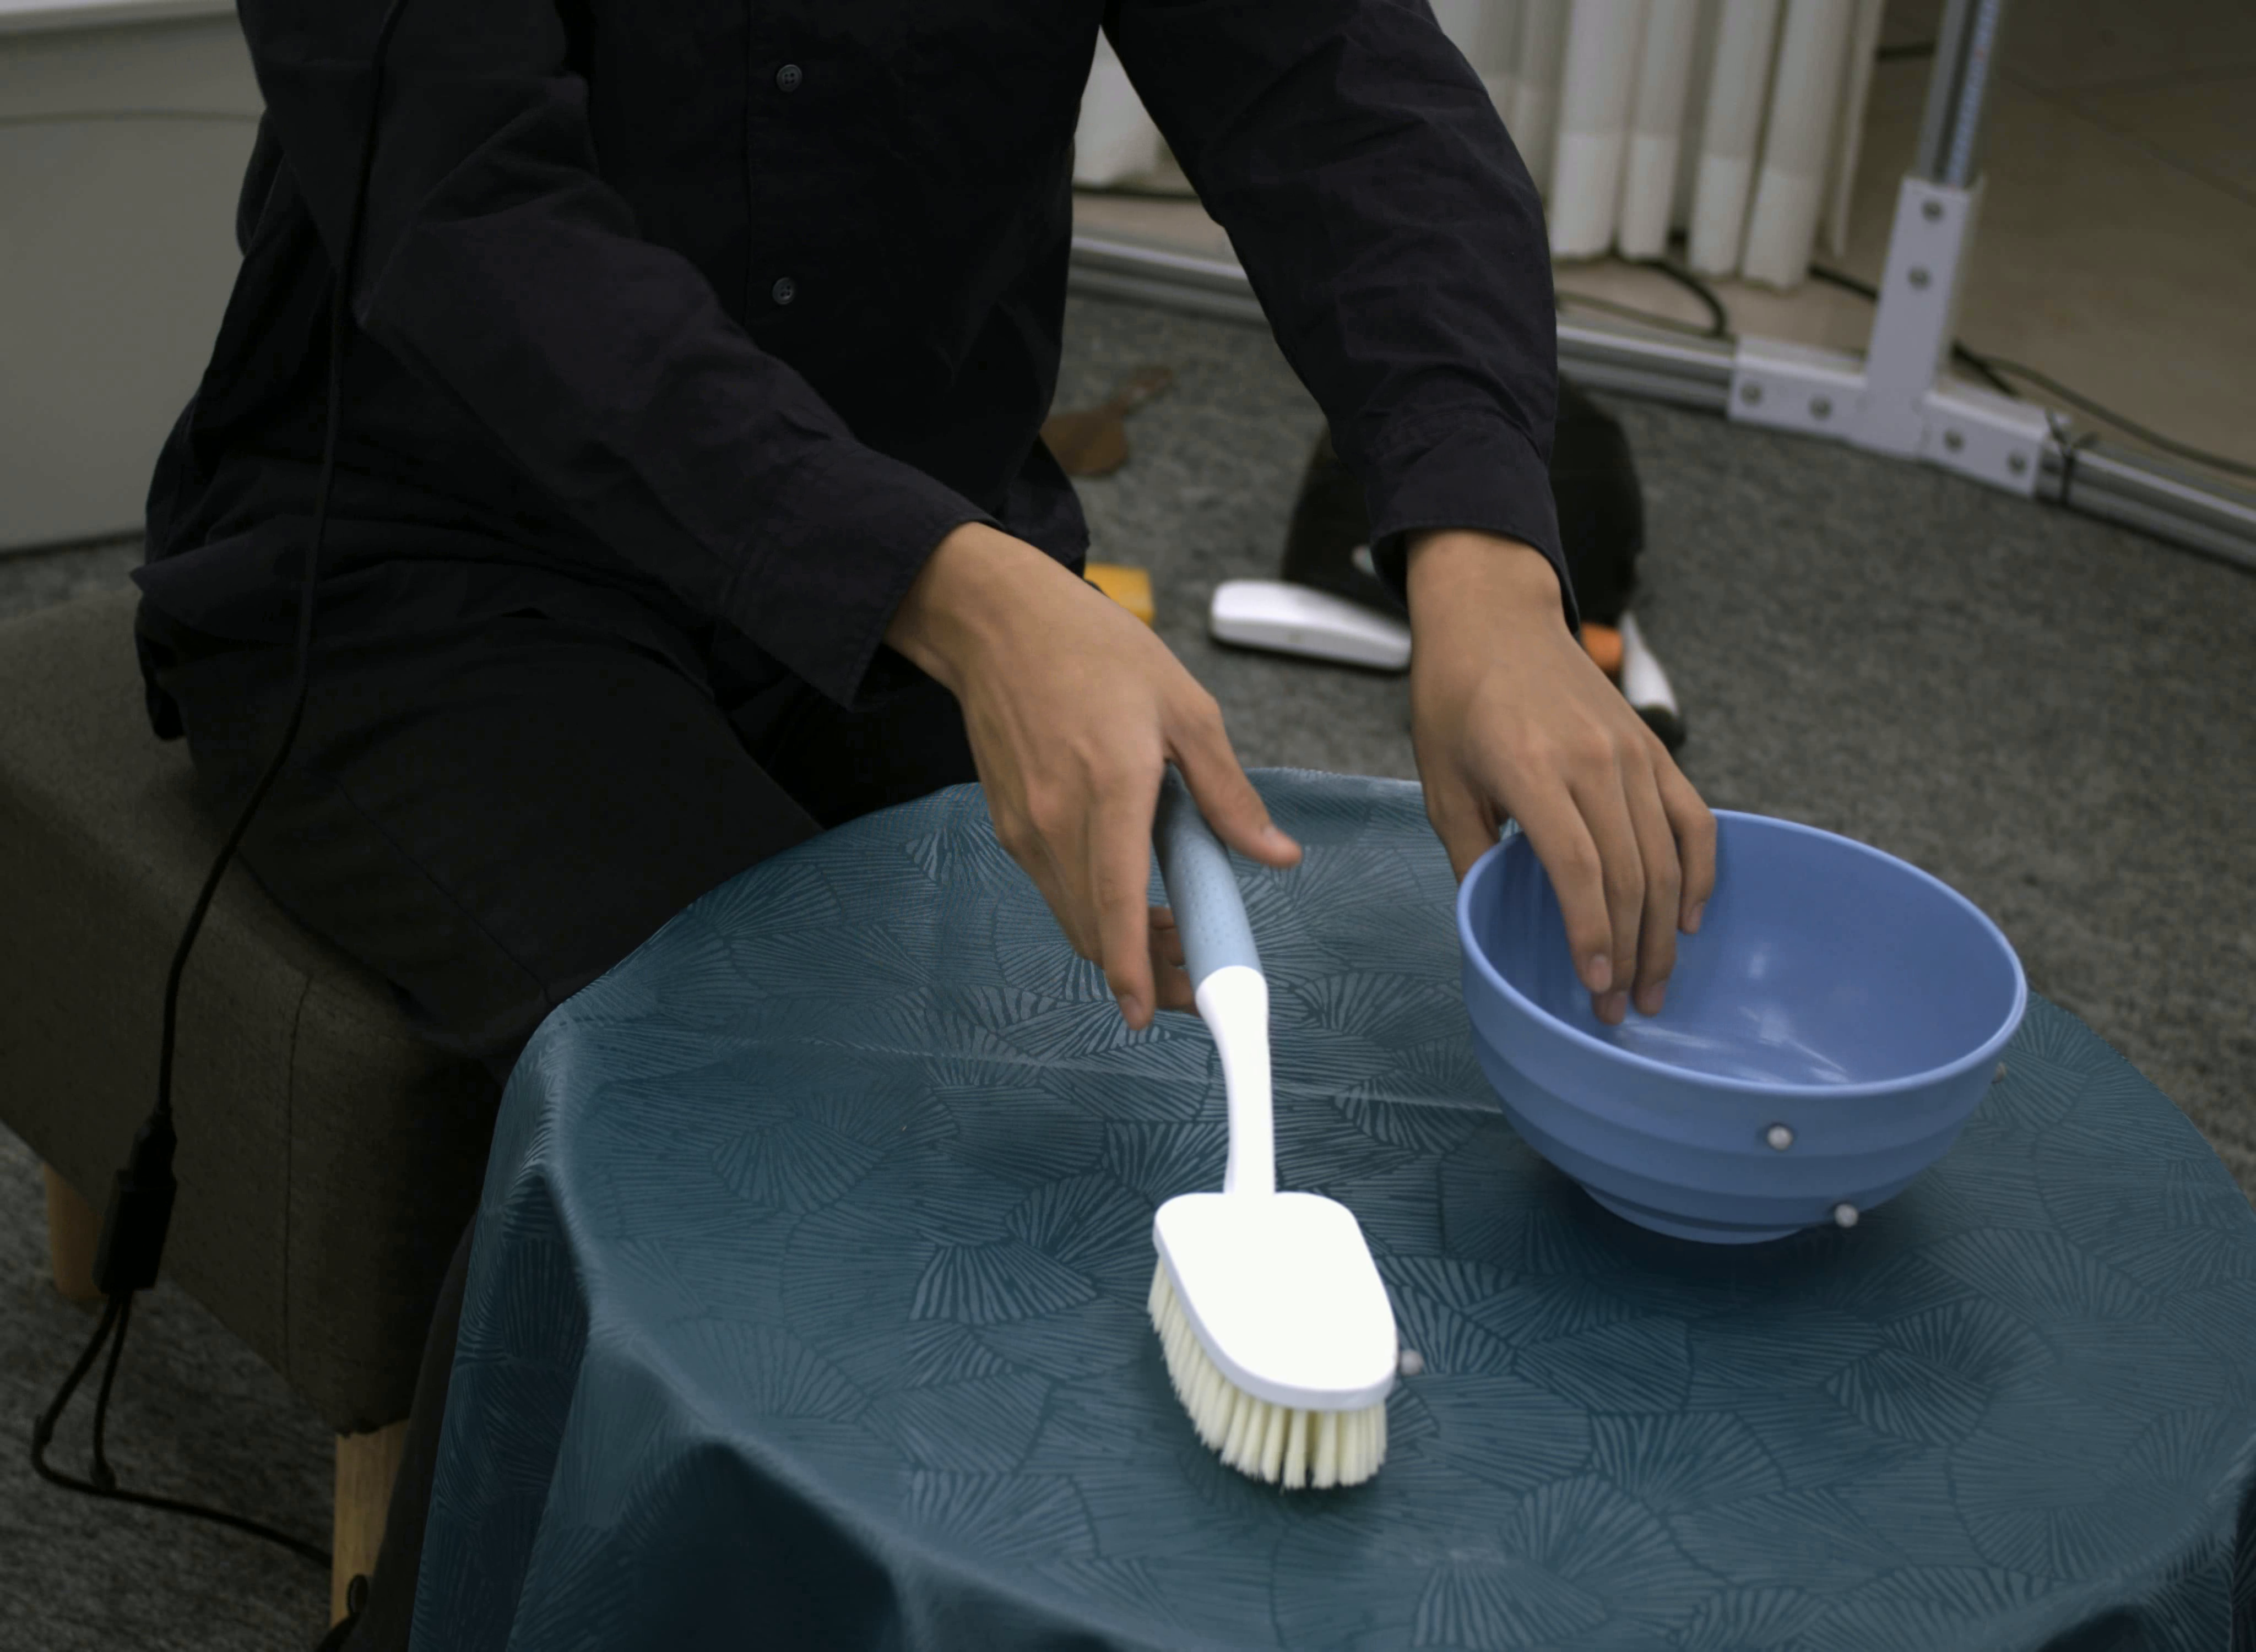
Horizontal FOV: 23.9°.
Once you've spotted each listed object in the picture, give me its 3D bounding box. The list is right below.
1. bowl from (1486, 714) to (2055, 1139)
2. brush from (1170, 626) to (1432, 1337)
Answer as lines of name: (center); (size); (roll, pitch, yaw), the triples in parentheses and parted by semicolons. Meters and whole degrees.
bowl: (0.217, 0.045, 1.851); (0.196, 0.095, 0.197); (4, 27, -2)
brush: (0.050, 0.060, 1.792); (0.082, 0.084, 0.328); (34, 26, -33)
